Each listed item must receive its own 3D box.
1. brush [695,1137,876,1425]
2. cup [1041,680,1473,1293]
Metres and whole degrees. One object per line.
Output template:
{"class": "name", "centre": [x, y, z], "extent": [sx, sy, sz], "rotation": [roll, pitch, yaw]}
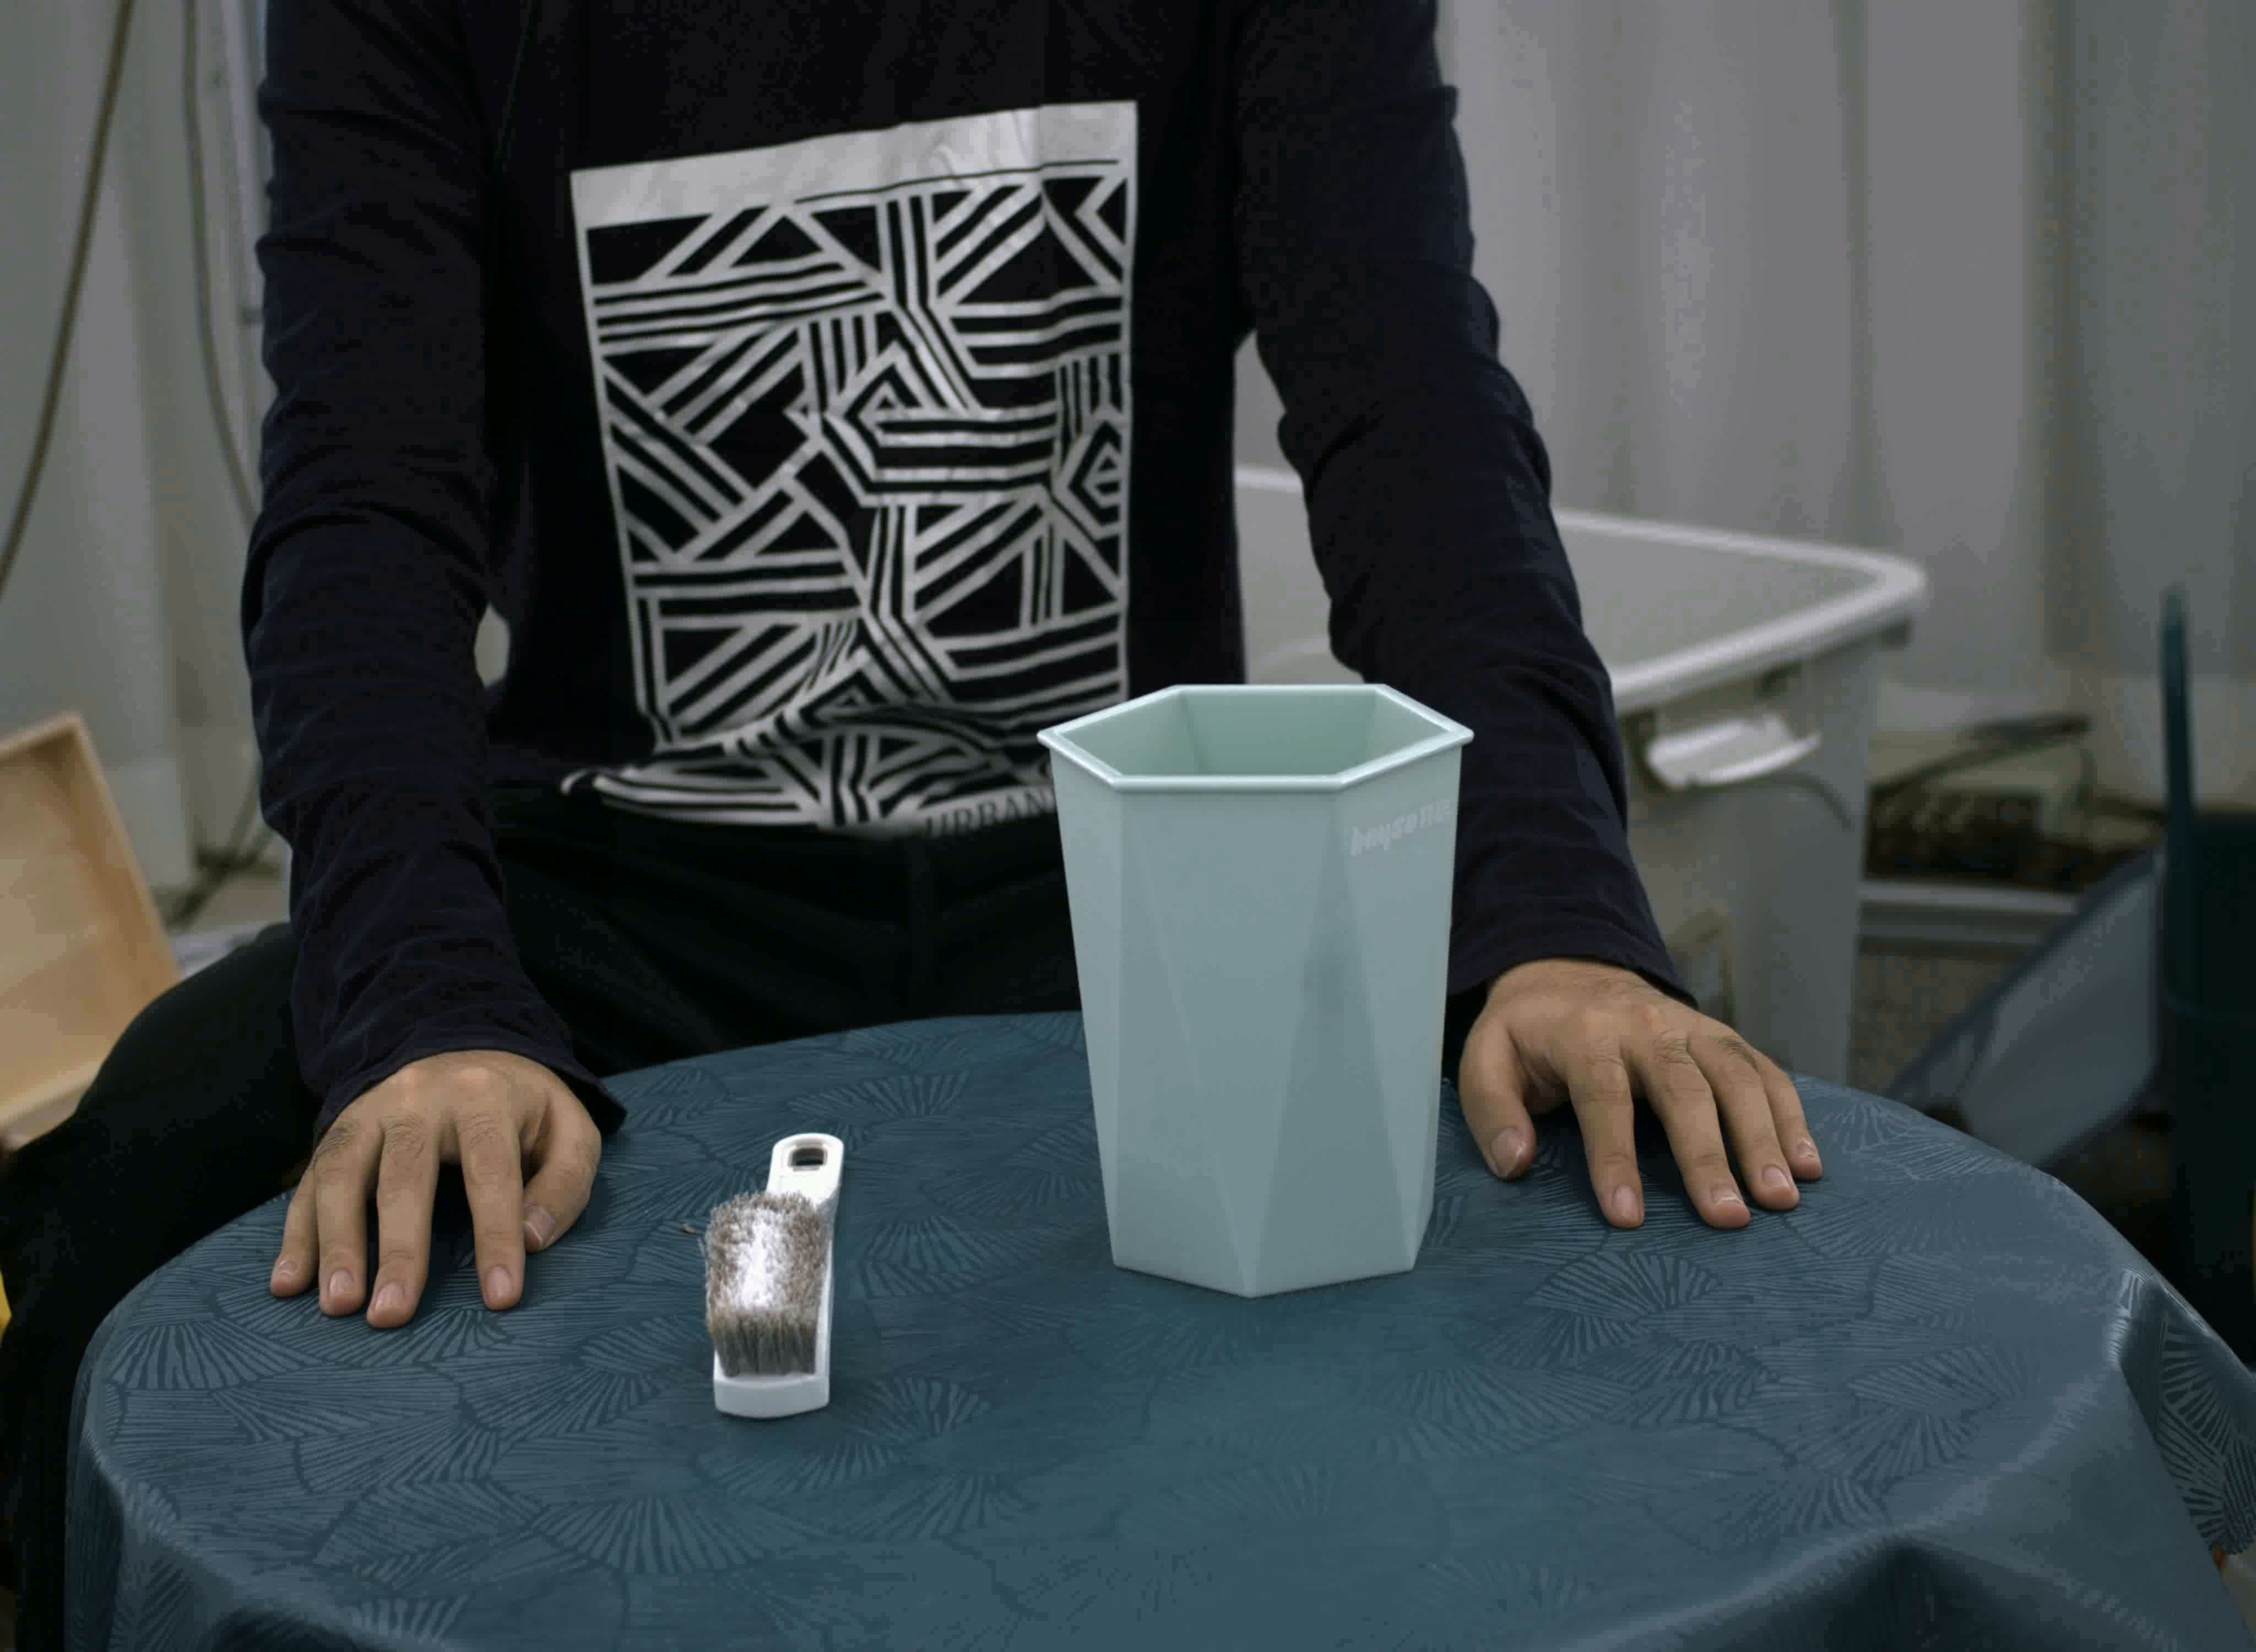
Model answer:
{"class": "brush", "centre": [-0.099, 0.116, 1.639], "extent": [0.034, 0.050, 0.245], "rotation": [-6, 15, 4]}
{"class": "cup", "centre": [0.043, 0.047, 1.644], "extent": [0.115, 0.162, 0.131], "rotation": [7, 17, 37]}
